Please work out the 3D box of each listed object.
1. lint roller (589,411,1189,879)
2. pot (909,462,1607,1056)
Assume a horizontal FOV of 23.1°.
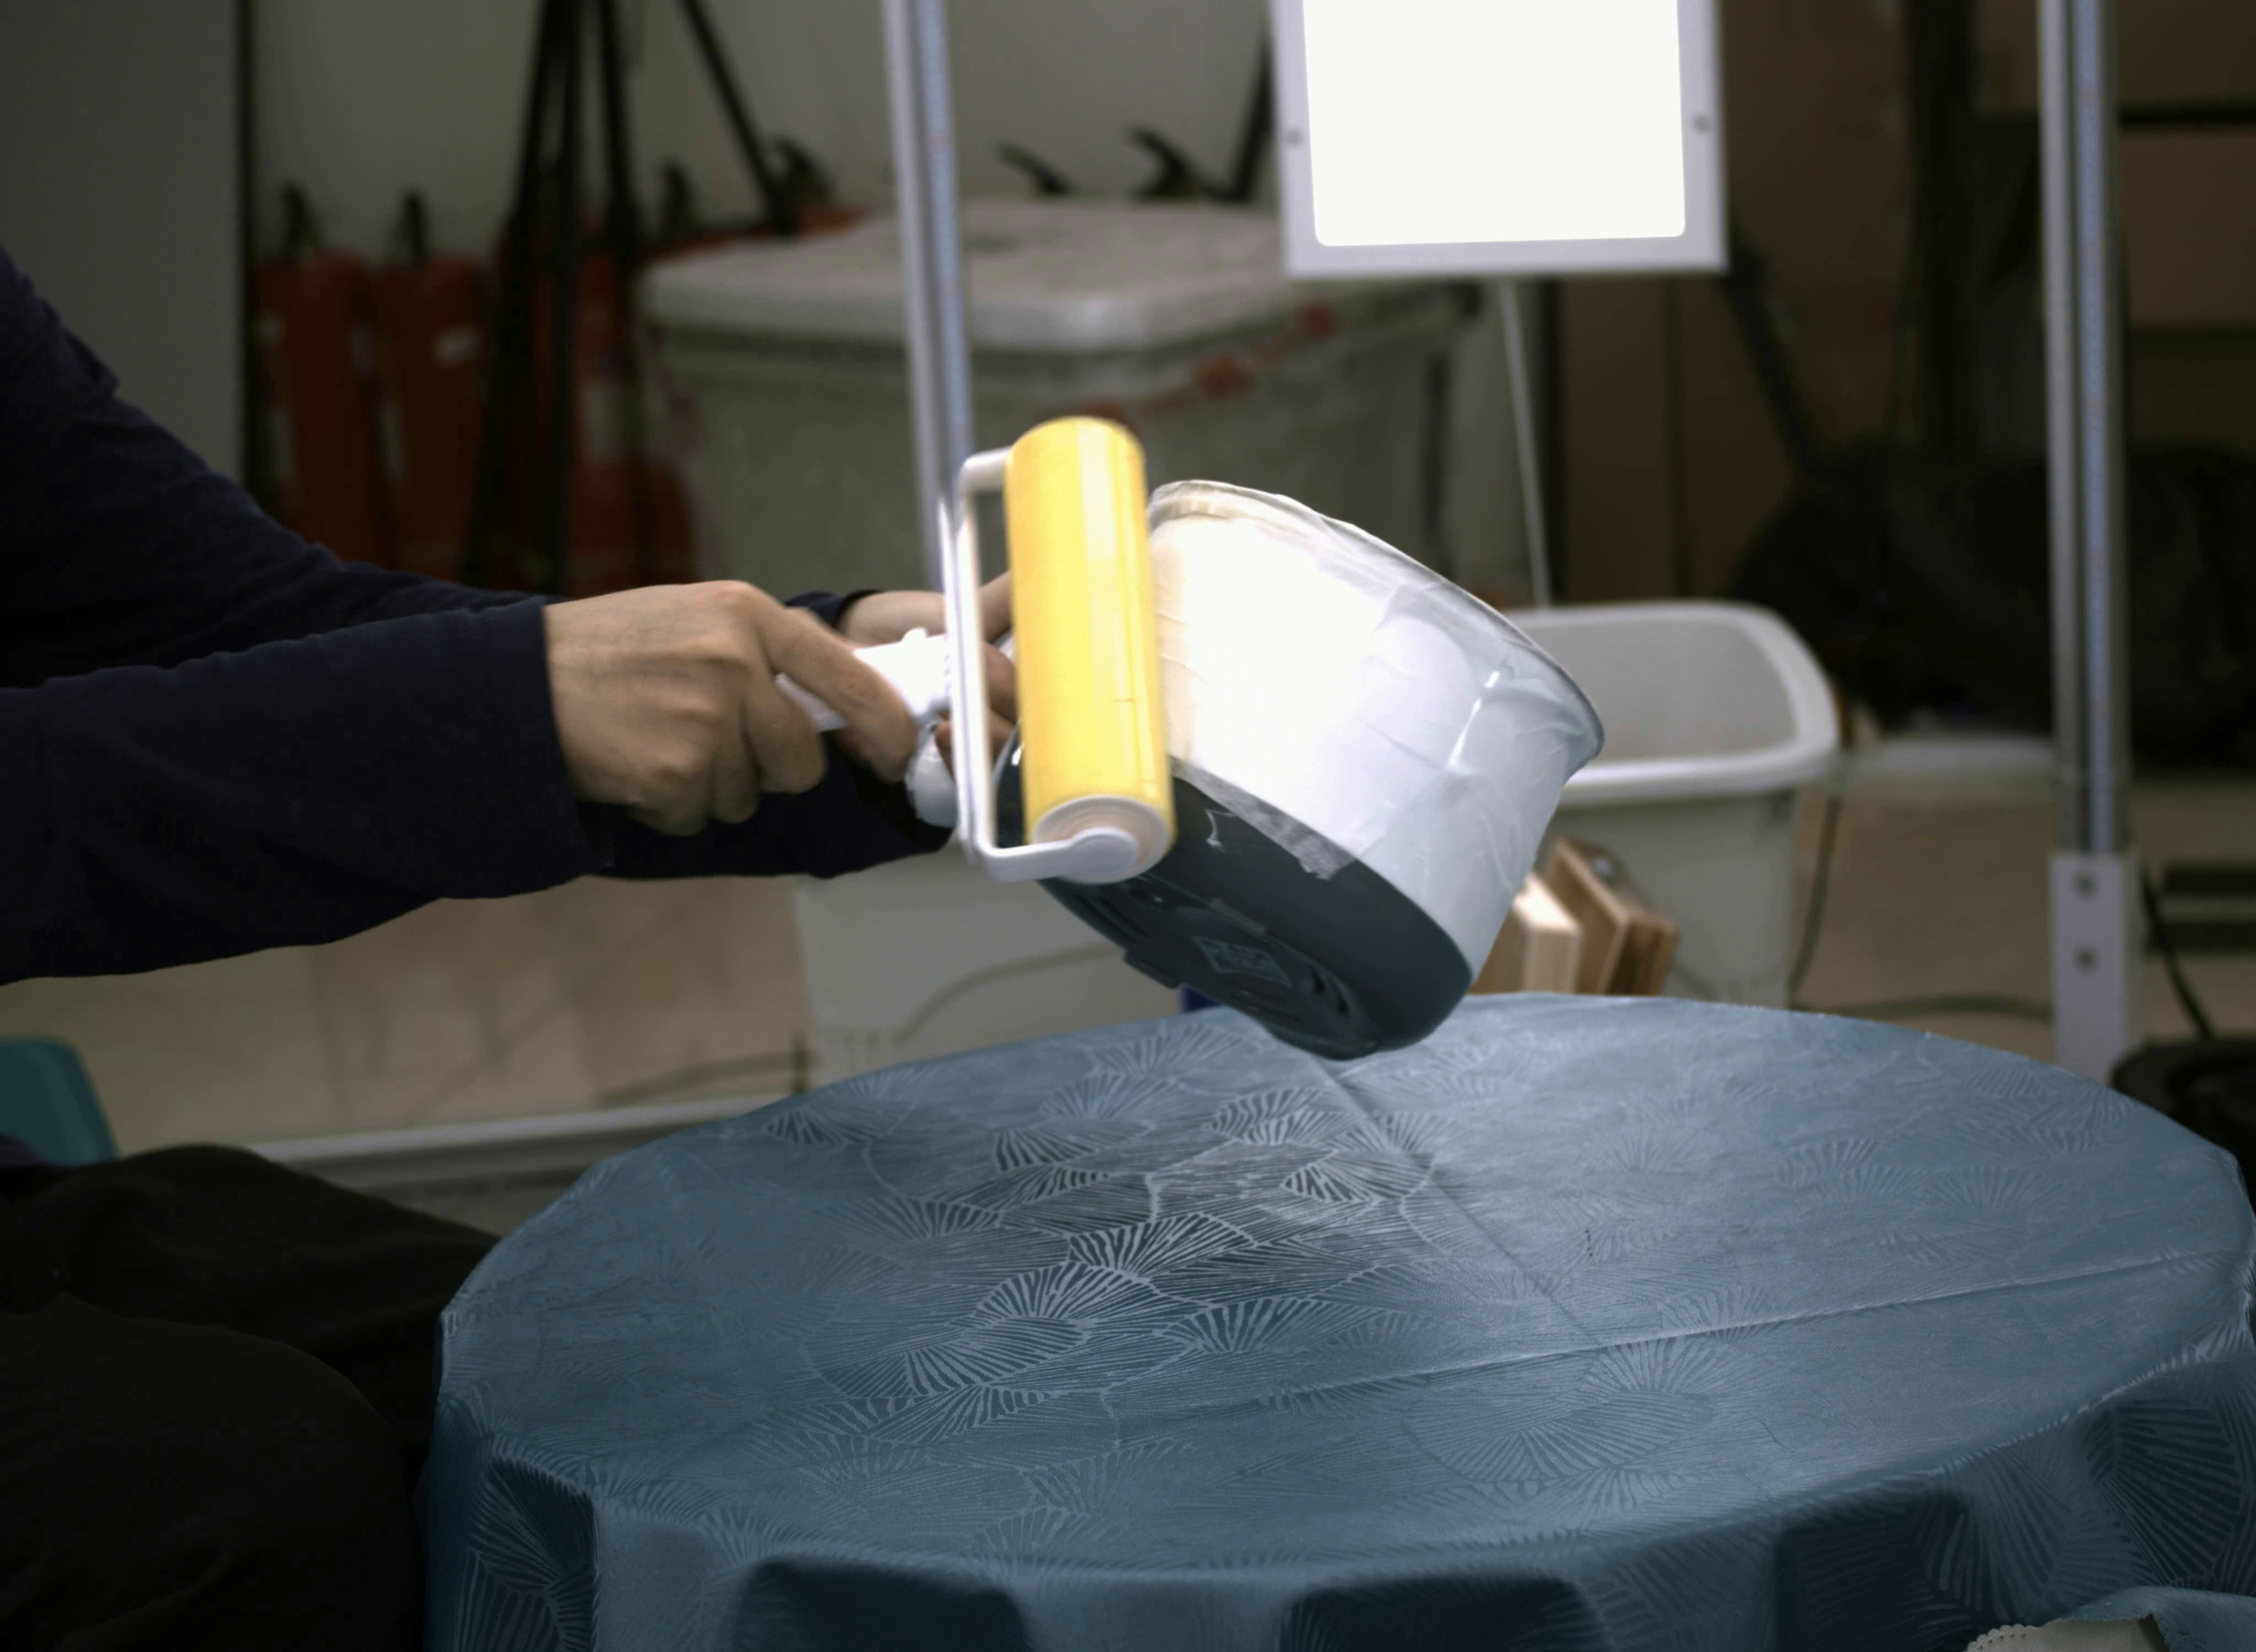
[{"bbox_3d":[-0.082,-0.050,1.788,0.192,0.051,0.174,-7,52,2],"label":"lint roller"},{"bbox_3d":[0.033,-0.028,1.877,0.238,0.136,0.176,23,-16,39],"label":"pot"}]
